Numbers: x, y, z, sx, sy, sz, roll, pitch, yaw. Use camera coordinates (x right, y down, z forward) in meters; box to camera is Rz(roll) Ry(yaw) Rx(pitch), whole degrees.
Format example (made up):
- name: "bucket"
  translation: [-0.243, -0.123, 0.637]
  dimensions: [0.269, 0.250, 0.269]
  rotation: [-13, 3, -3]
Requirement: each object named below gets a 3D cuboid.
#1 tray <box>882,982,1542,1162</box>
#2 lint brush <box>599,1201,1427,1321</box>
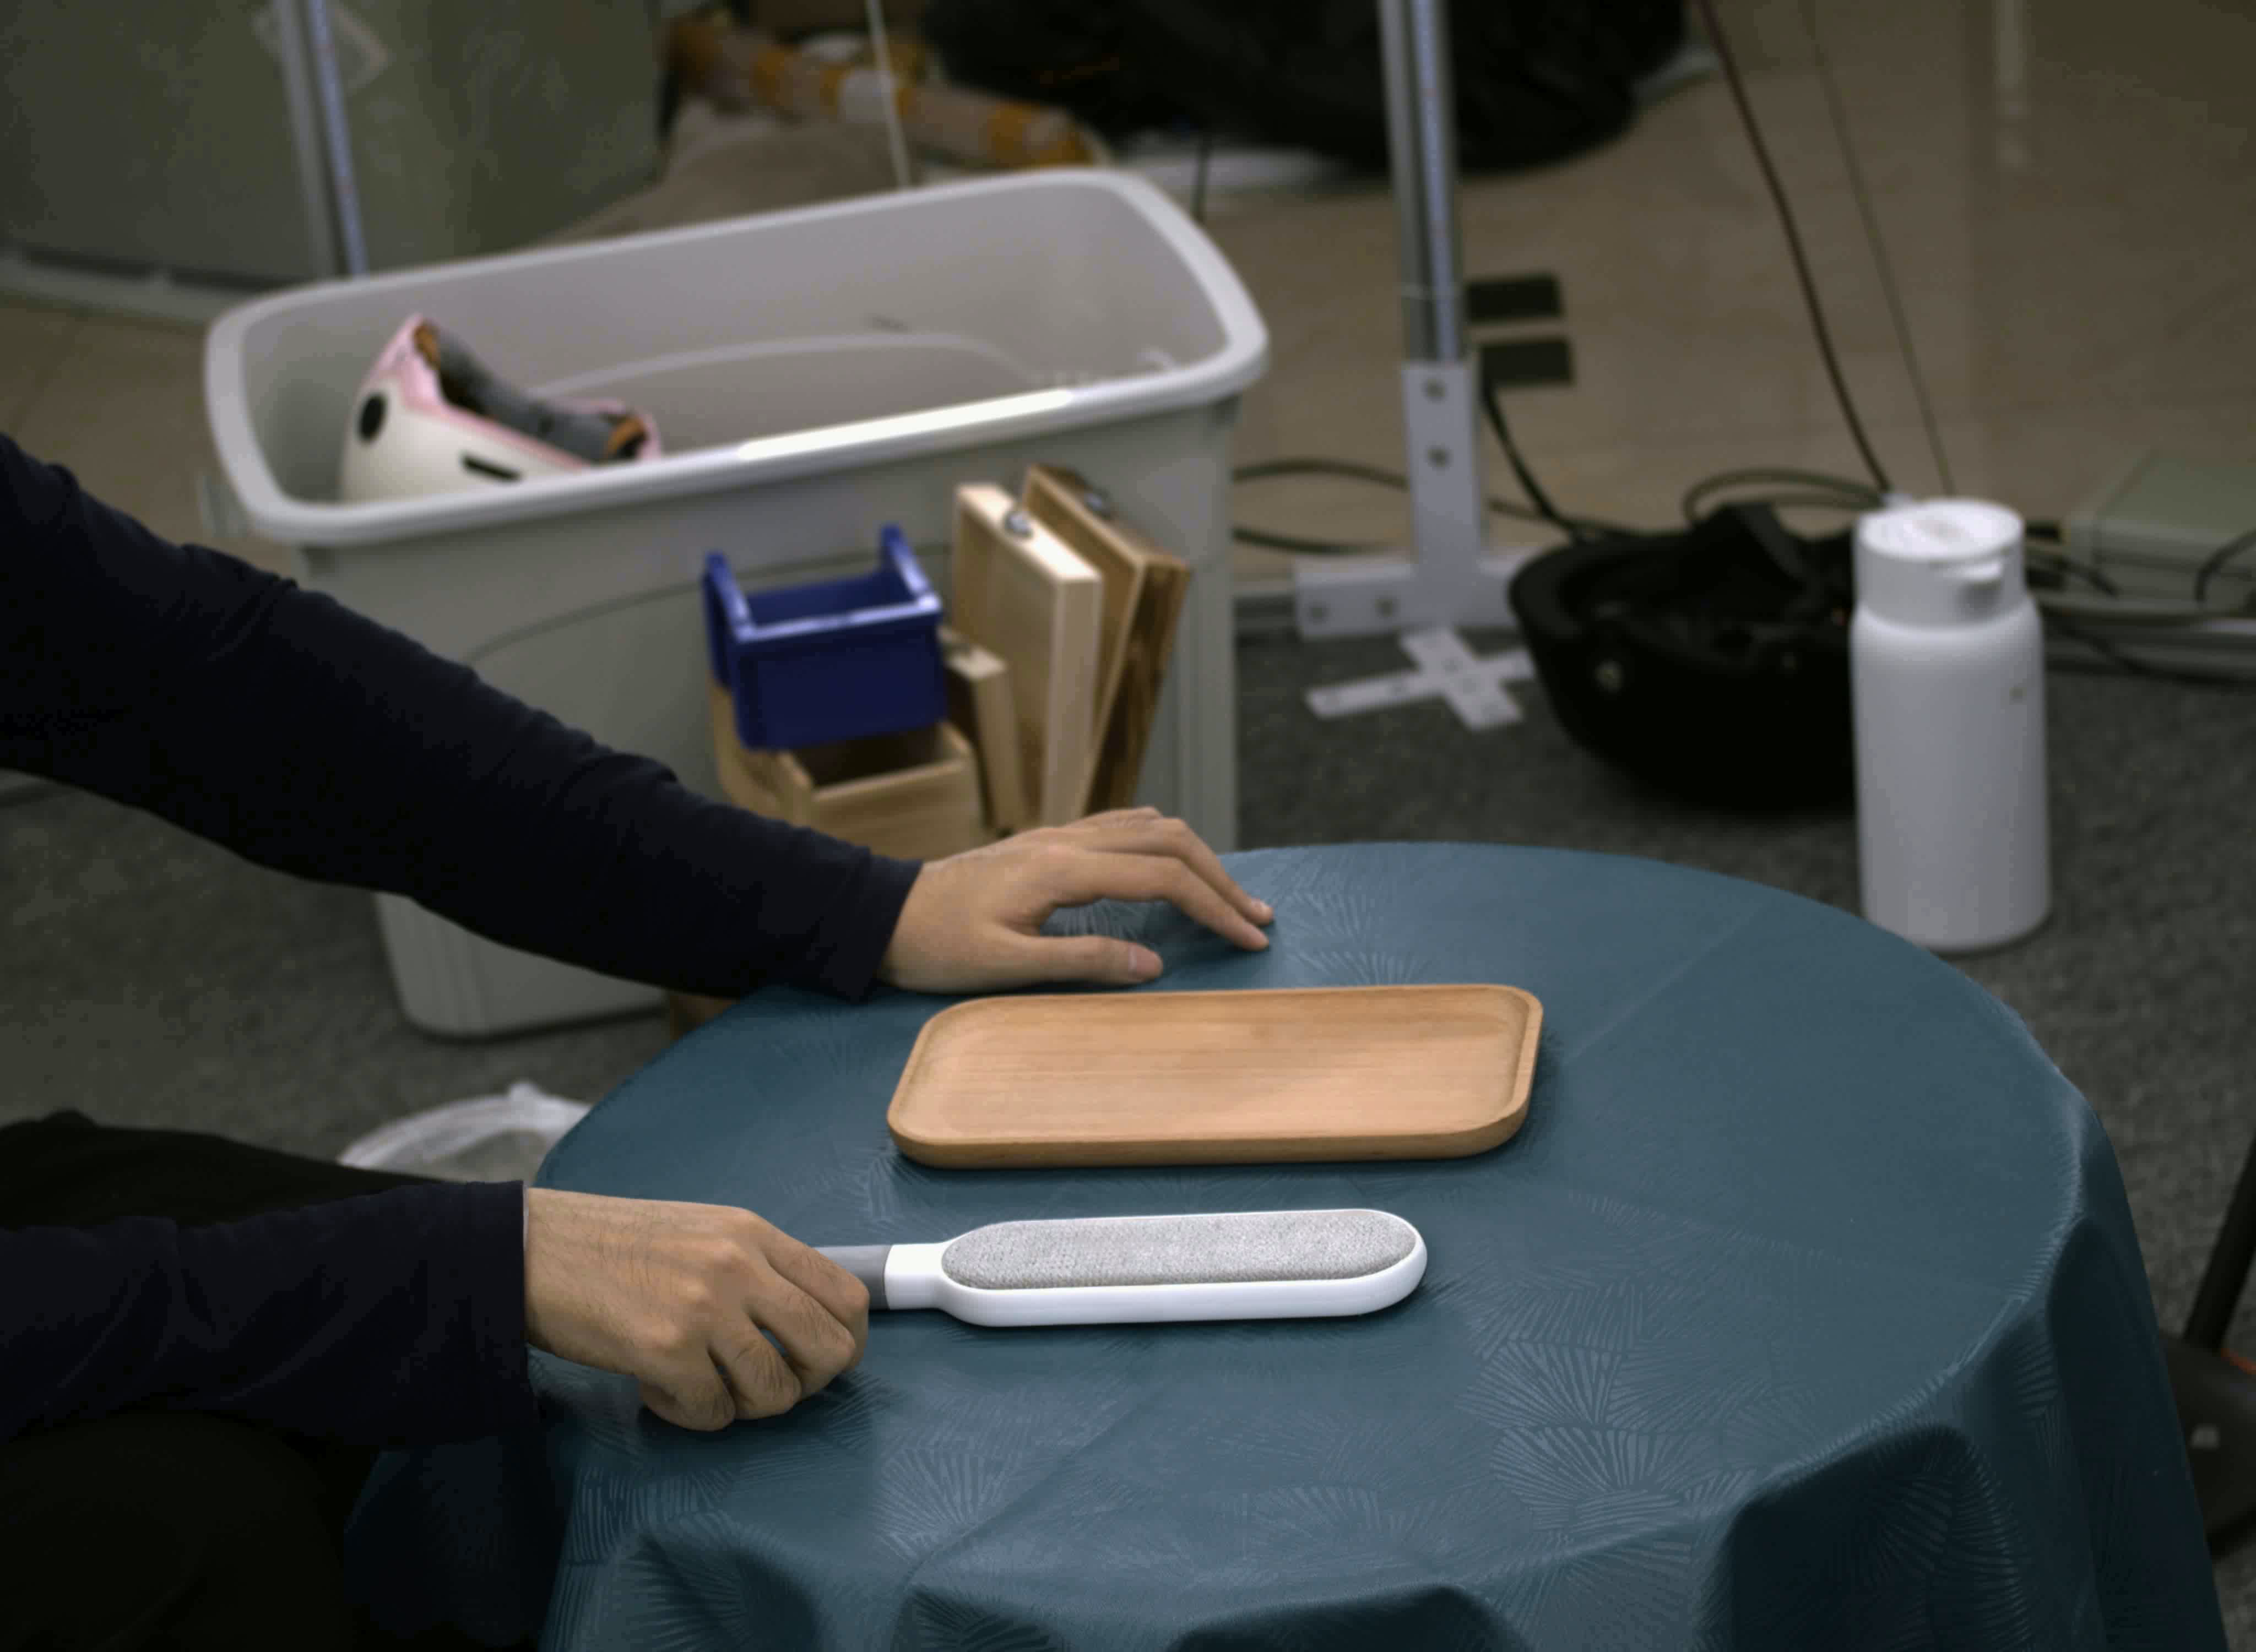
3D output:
- name: "tray"
  translation: [0.034, 0.096, 2.214]
  dimensions: [0.250, 0.023, 0.129]
  rotation: [-1, 23, 13]
- name: "lint brush"
  translation: [-0.044, 0.161, 2.083]
  dimensions: [0.308, 0.021, 0.059]
  rotation: [-2, 30, 10]
